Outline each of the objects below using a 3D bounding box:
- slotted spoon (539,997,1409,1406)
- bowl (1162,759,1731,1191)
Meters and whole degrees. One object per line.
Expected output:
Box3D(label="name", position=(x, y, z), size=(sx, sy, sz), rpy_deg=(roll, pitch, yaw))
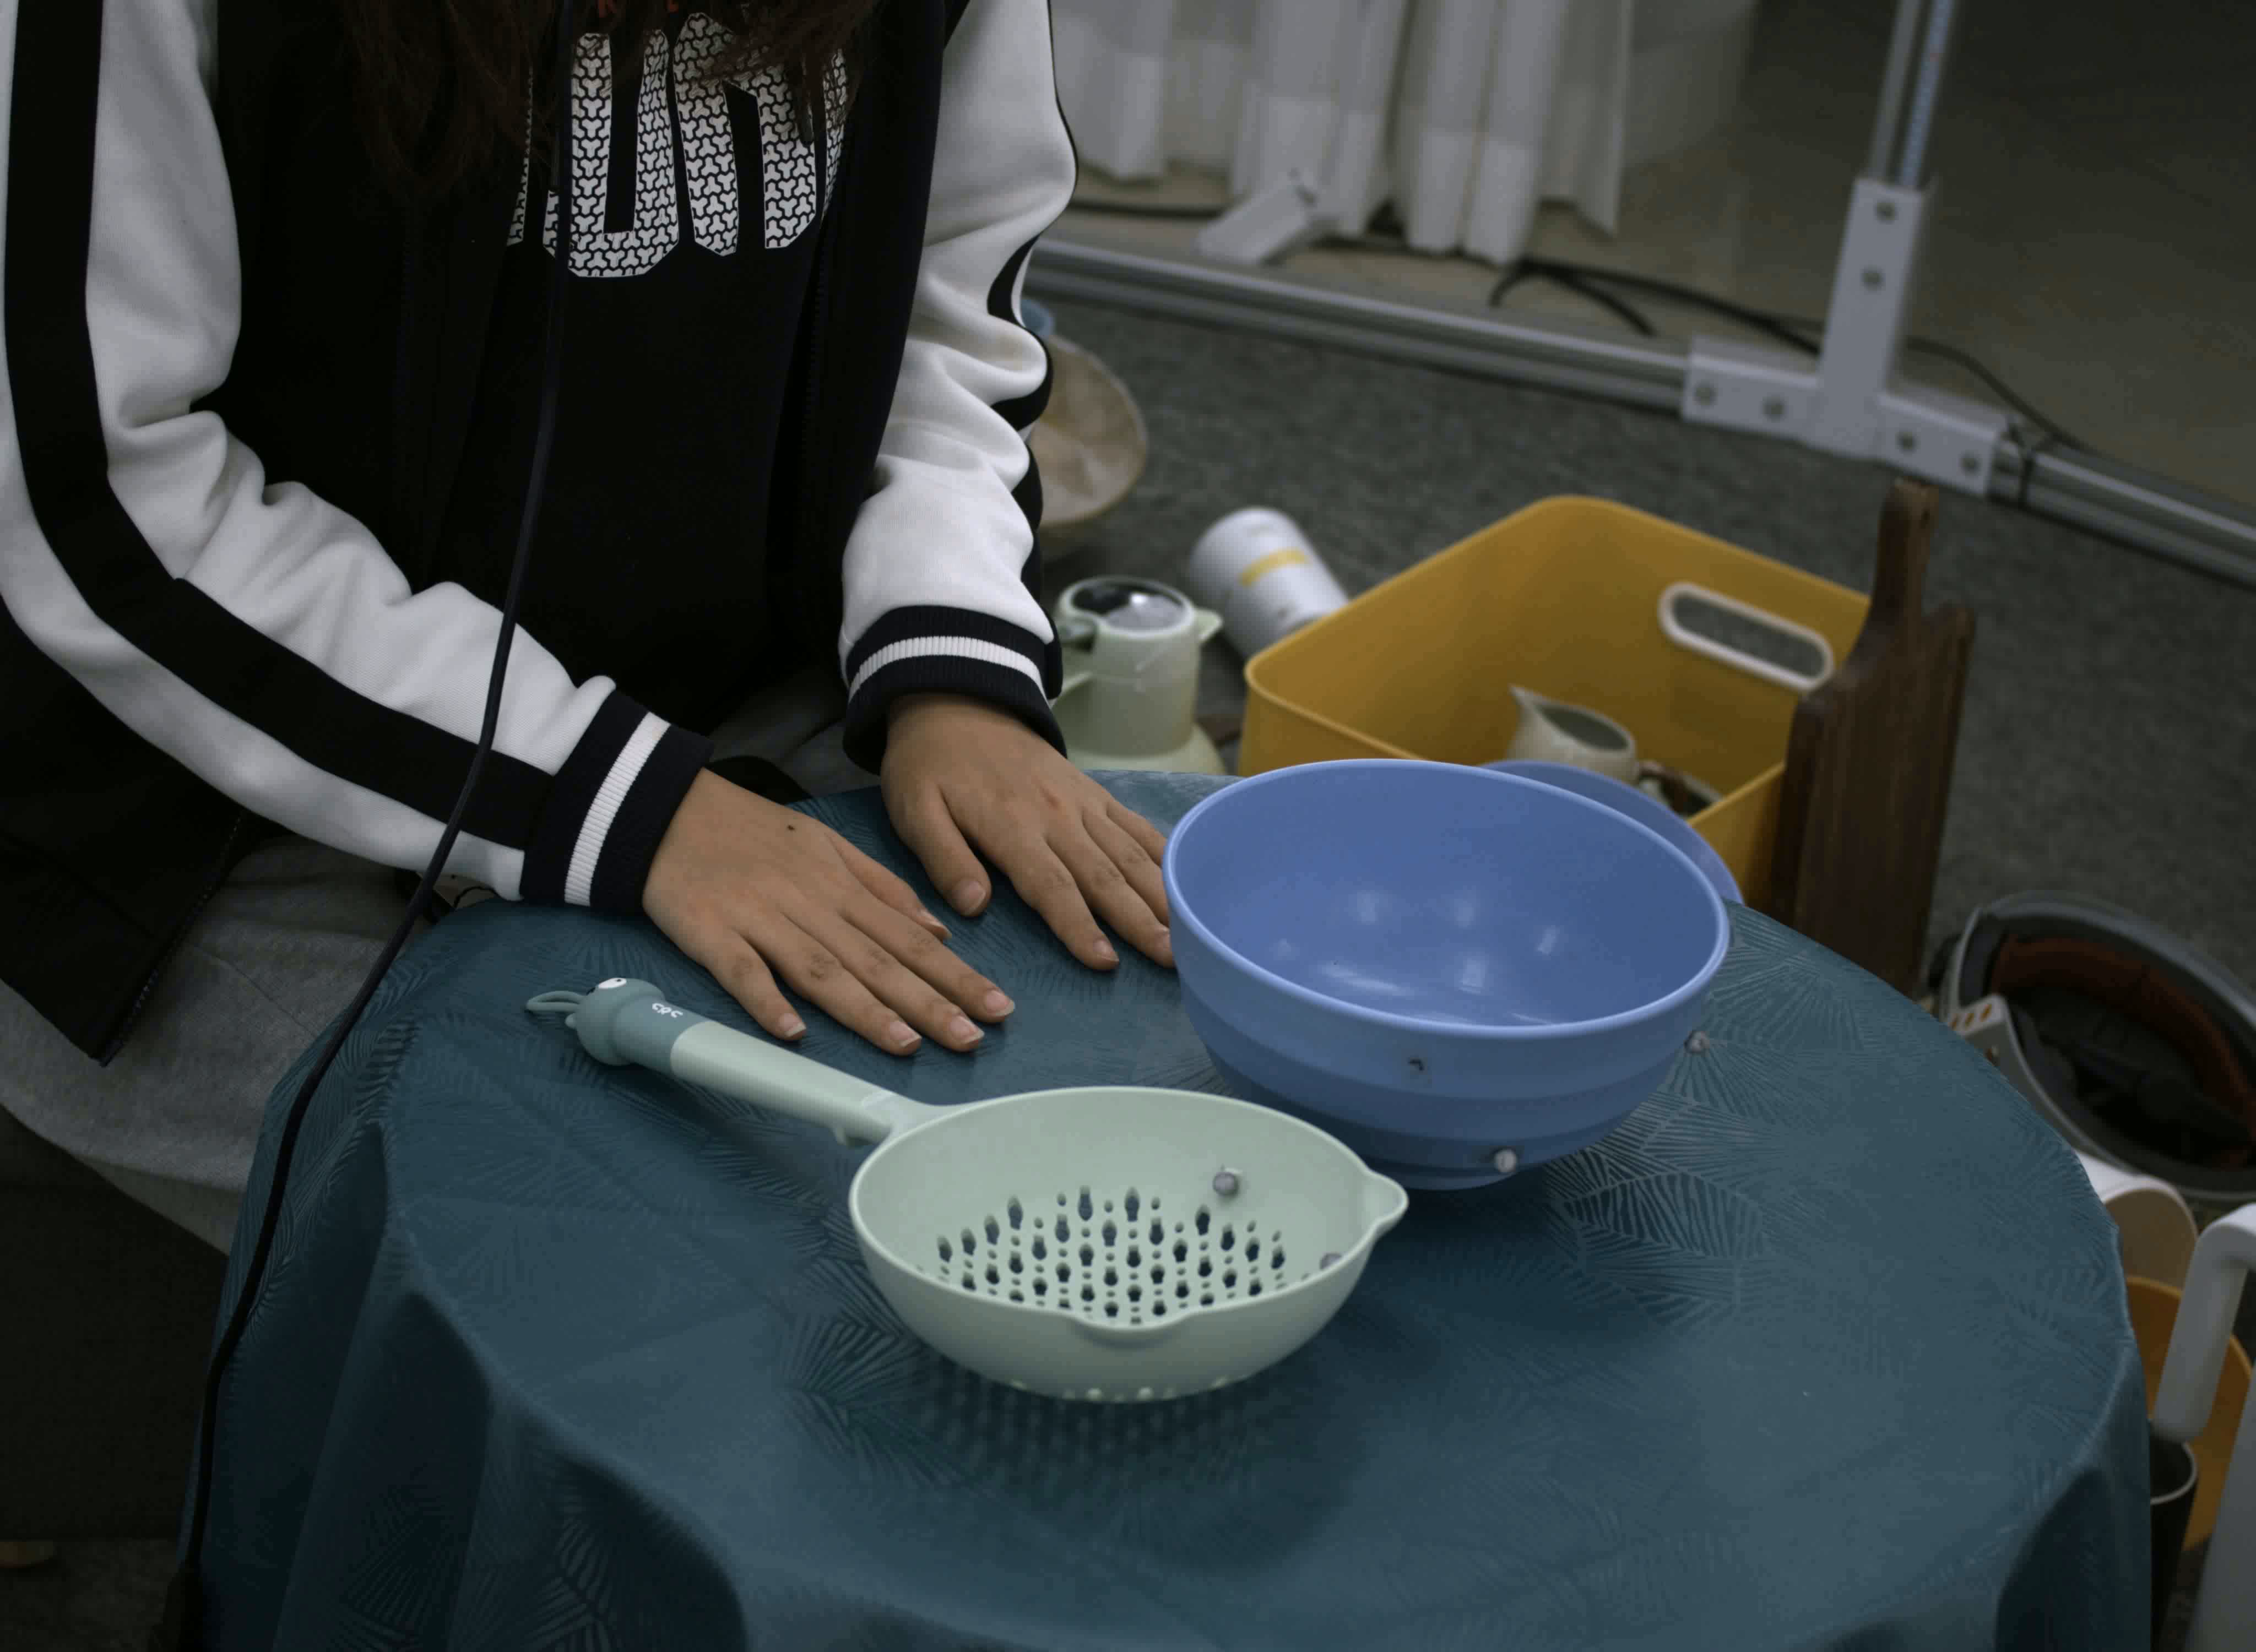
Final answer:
Box3D(label="slotted spoon", position=(-0.074, 0.107, 1.755), size=(0.361, 0.075, 0.168), rpy_deg=(27, 32, 37))
Box3D(label="bowl", position=(0.104, 0.062, 1.840), size=(0.196, 0.095, 0.198), rpy_deg=(5, 27, -3))
